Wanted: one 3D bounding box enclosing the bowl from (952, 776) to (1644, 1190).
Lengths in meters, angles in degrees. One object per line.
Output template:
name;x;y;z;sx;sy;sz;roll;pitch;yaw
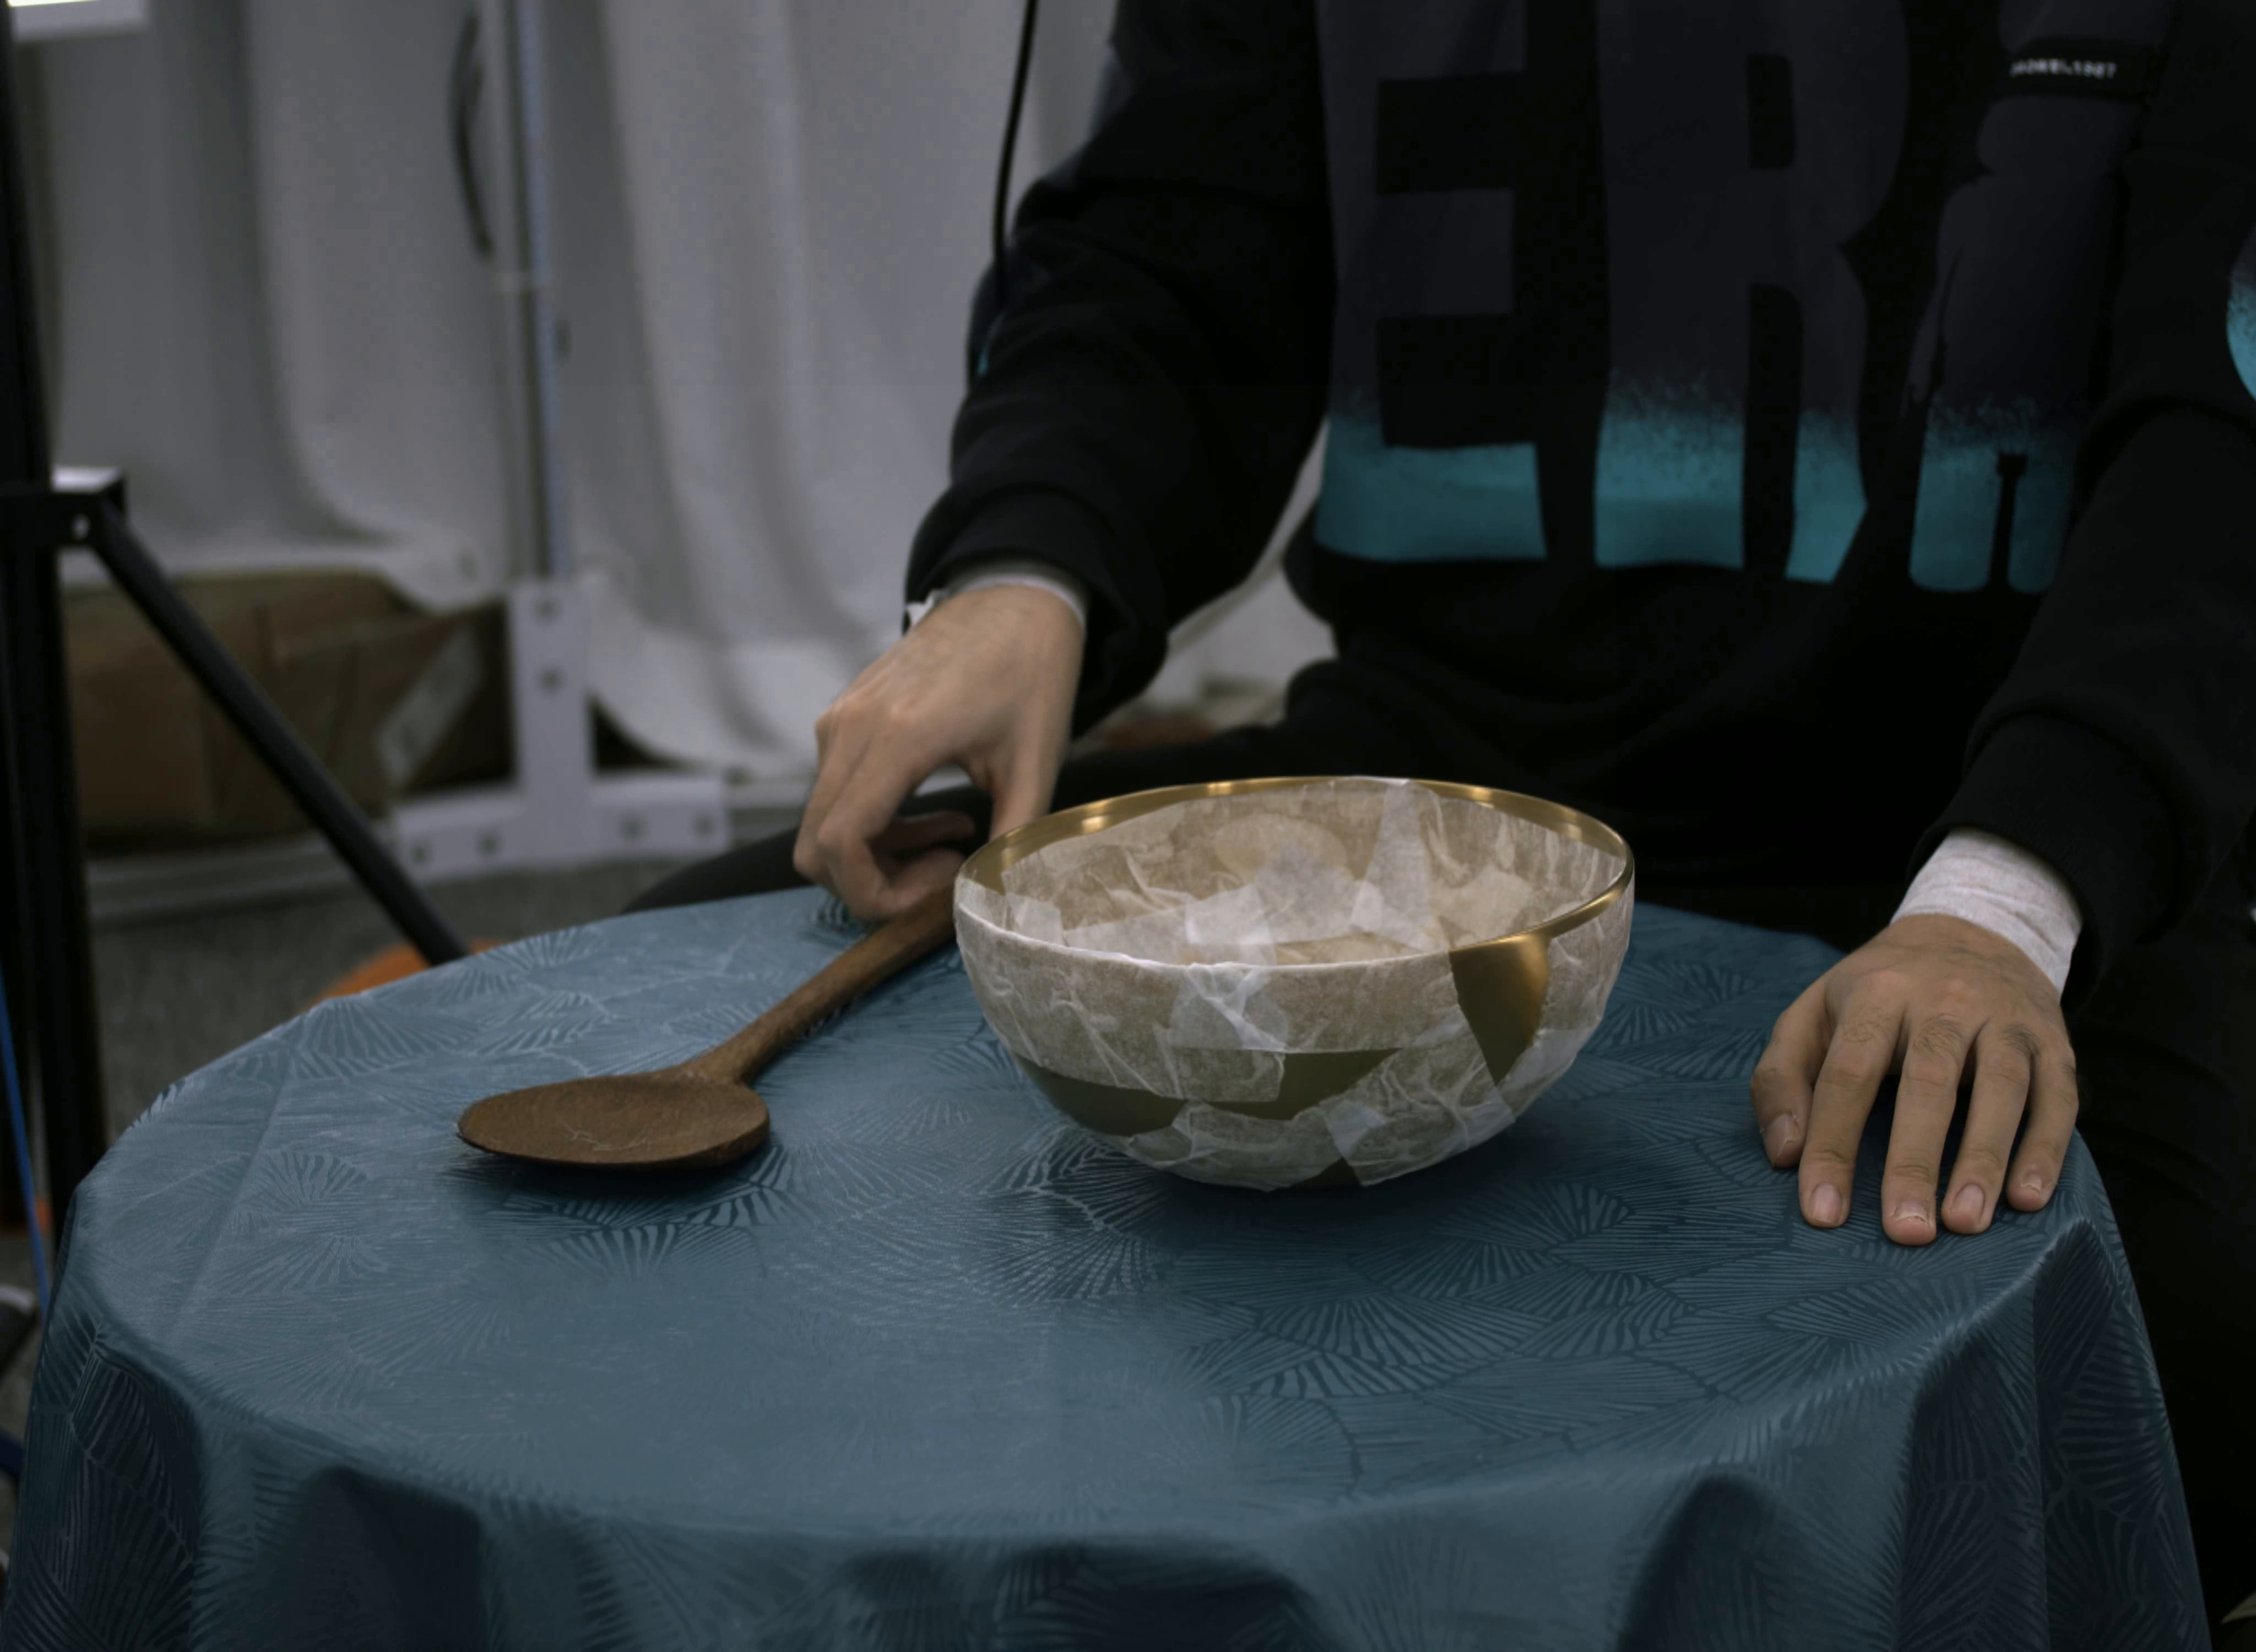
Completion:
bowl;0.054;0.053;1.571;0.213;0.094;0.216;-4;14;-1

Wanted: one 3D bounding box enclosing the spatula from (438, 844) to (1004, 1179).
spatula;-0.097;0.053;1.743;0.097;0.016;0.380;5;17;23
